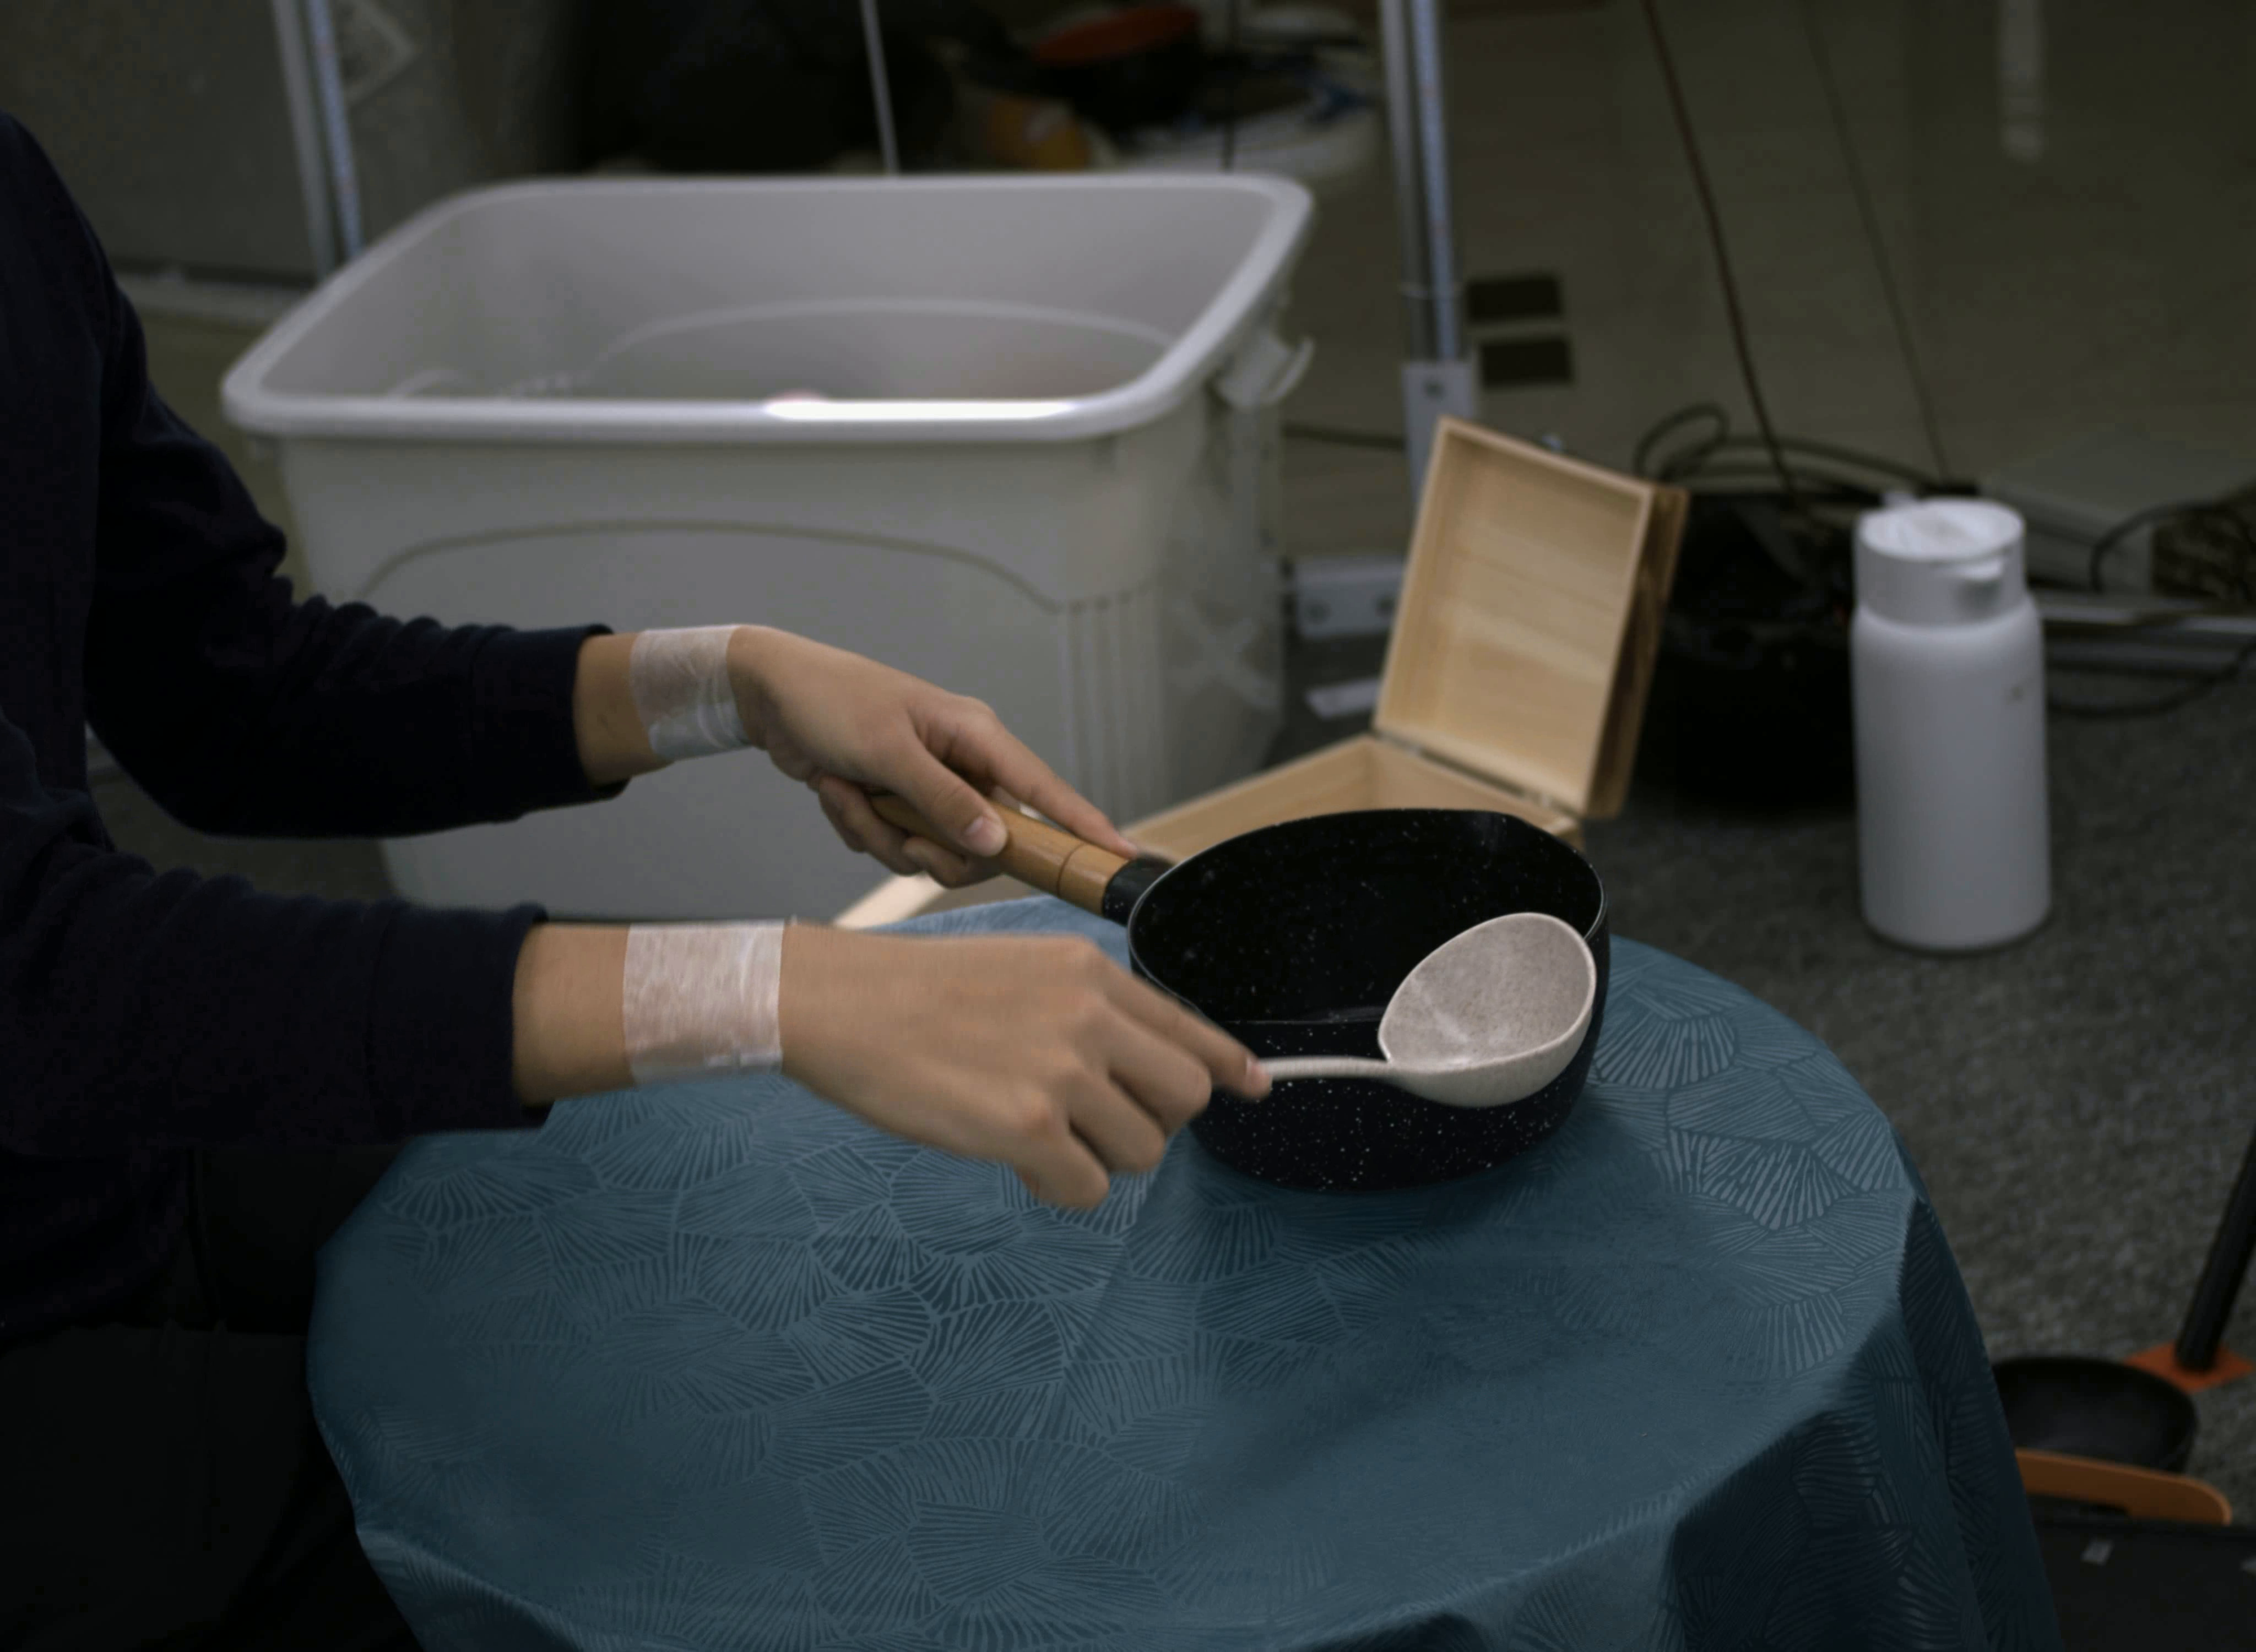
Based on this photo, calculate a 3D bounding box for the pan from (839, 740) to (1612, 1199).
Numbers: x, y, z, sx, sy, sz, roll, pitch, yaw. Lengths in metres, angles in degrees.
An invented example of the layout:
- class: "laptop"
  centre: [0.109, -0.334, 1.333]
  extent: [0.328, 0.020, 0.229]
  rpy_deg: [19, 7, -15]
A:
- class: "pan"
  centre: [0.028, 0.046, 2.209]
  extent: [0.341, 0.110, 0.205]
  rpy_deg: [12, 32, 32]

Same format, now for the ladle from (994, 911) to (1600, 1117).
- class: "ladle"
  centre: [0.055, 0.062, 1.936]
  extent: [0.089, 0.069, 0.275]
  rpy_deg: [7, 4, 43]
